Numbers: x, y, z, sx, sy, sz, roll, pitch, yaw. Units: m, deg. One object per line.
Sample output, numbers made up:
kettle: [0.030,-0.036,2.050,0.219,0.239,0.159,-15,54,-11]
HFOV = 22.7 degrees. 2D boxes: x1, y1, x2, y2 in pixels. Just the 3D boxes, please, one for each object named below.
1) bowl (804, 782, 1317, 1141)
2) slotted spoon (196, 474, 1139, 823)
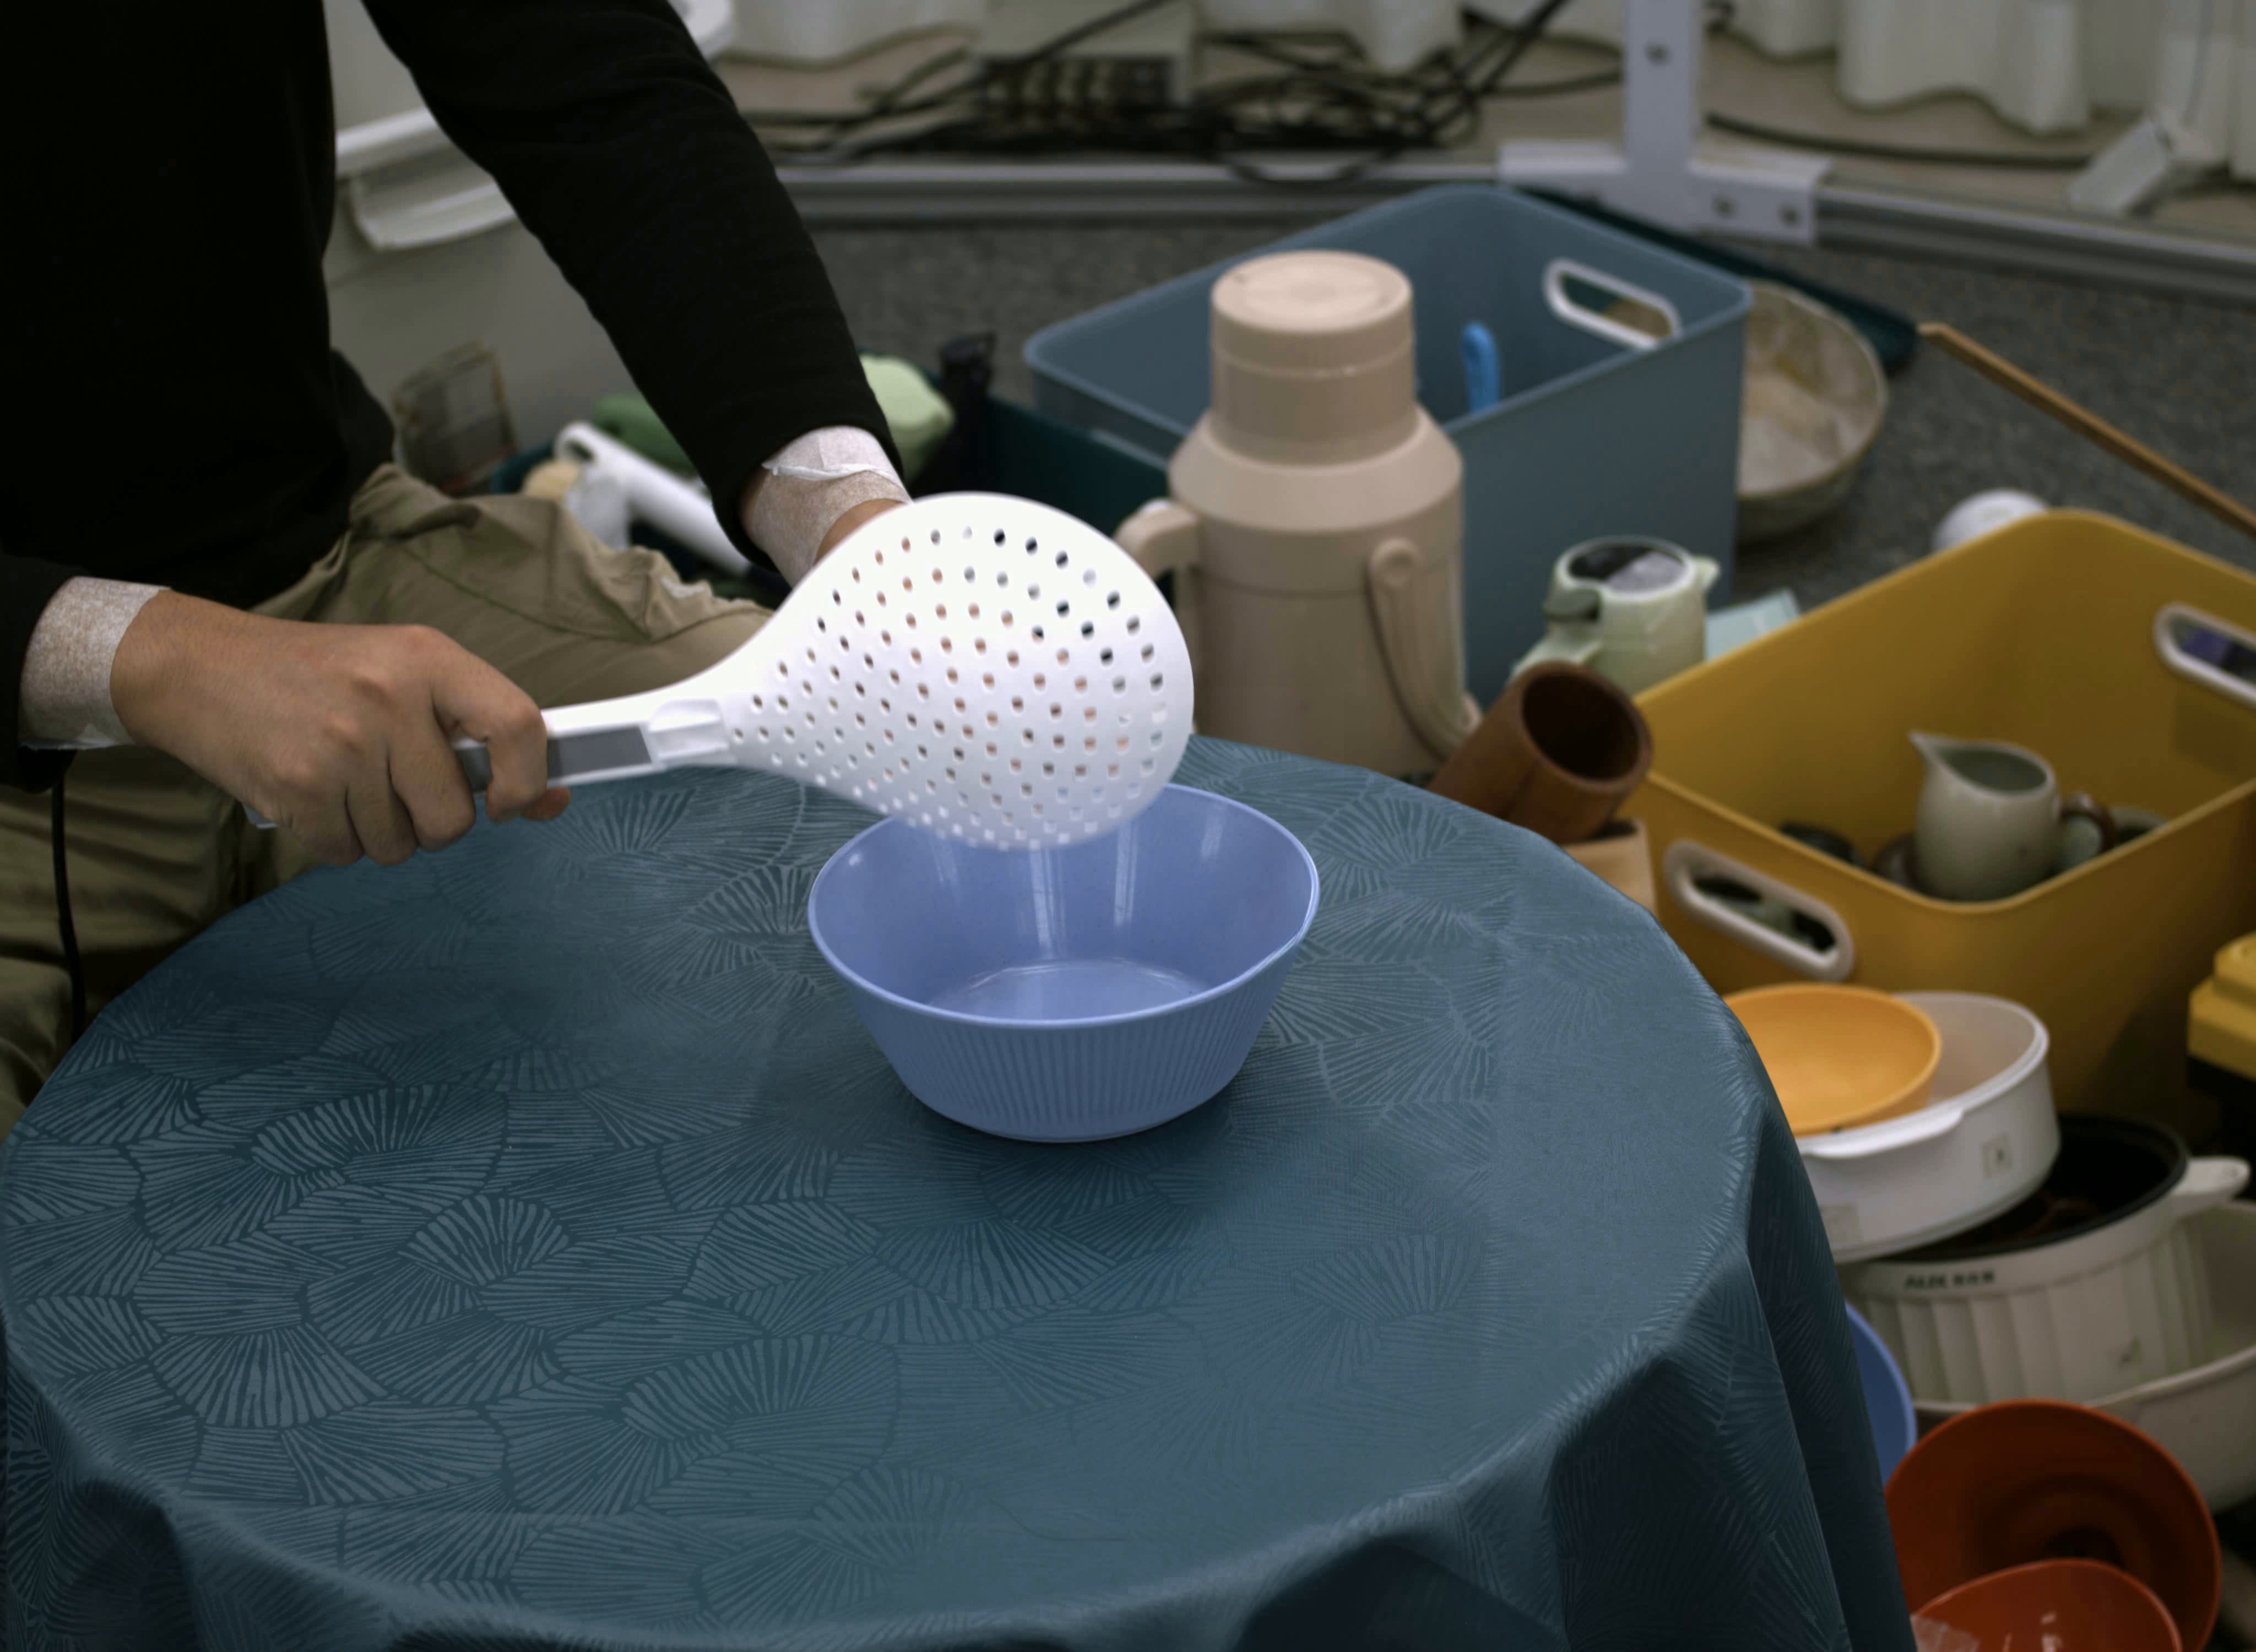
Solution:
bowl: [-0.021,0.052,1.923,0.175,0.069,0.178,-3,26,2]
slotted spoon: [-0.163,-0.039,1.915,0.346,0.135,0.046,-6,30,24]
